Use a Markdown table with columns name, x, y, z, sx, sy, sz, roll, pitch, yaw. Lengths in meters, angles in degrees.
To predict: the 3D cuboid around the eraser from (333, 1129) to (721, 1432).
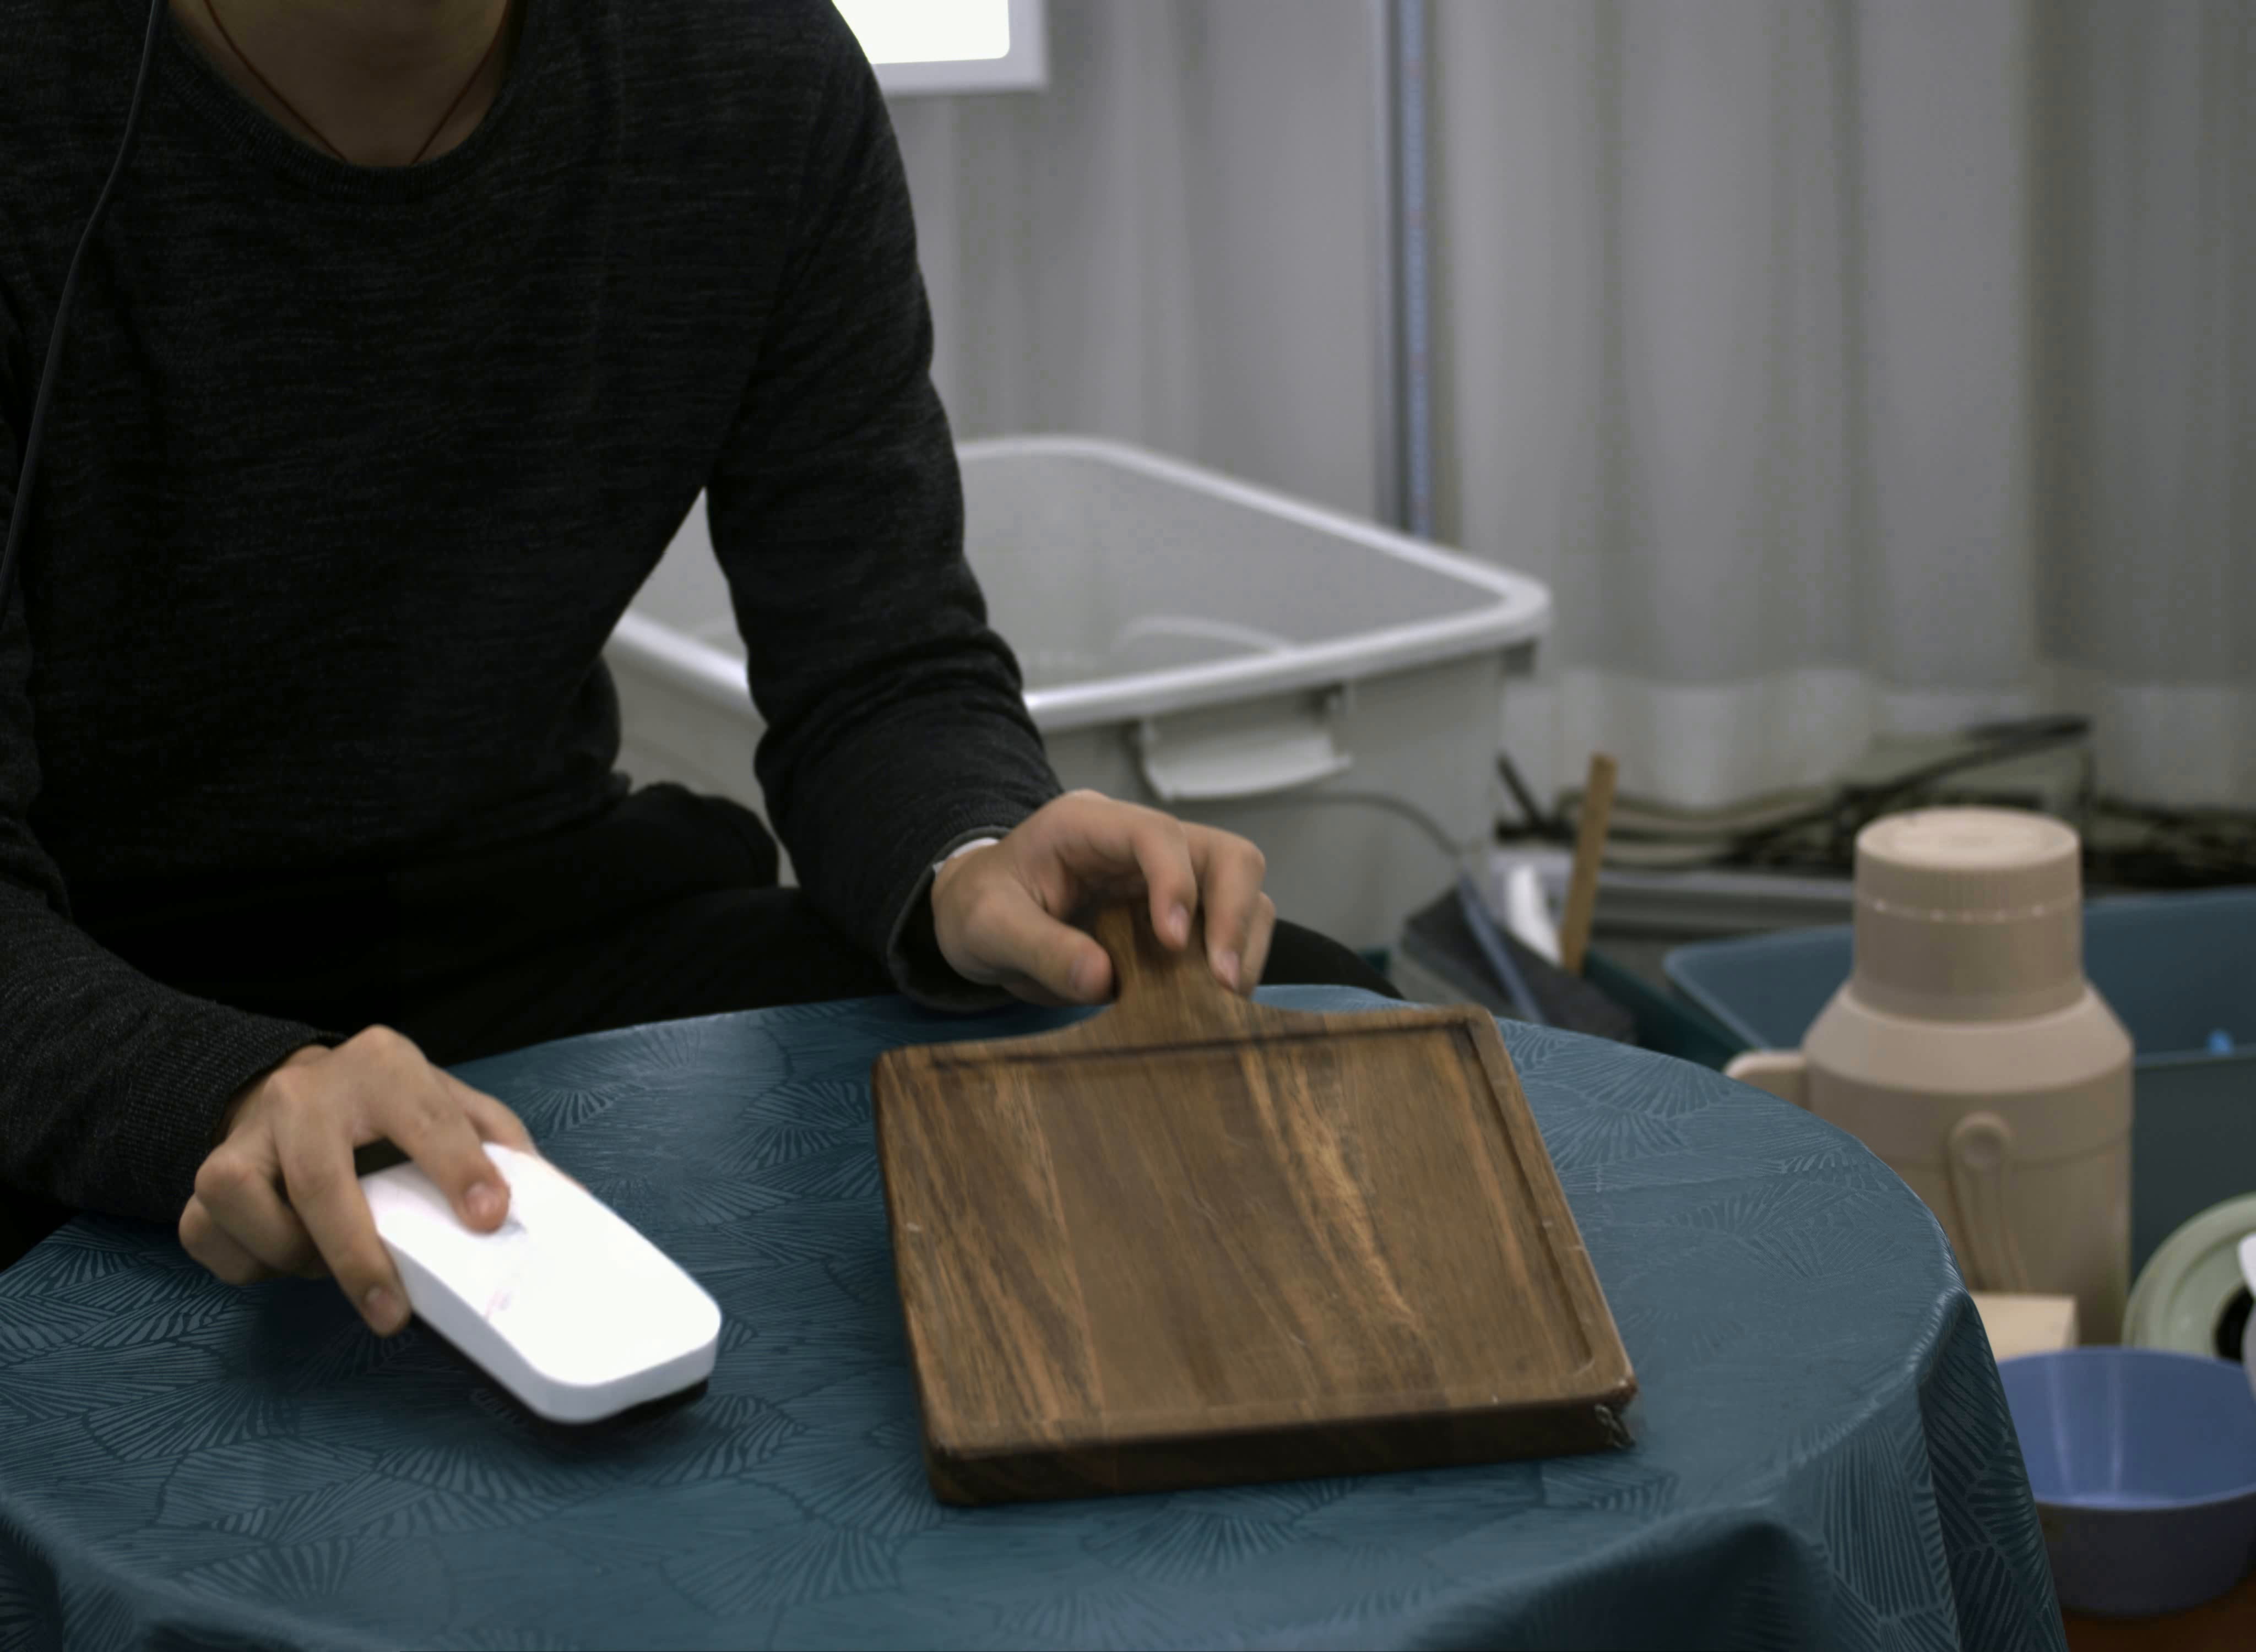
| name | x | y | z | sx | sy | sz | roll | pitch | yaw |
| --- | --- | --- | --- | --- | --- | --- | --- | --- | --- |
| eraser | -0.170 | 0.125 | 1.554 | 0.063 | 0.034 | 0.132 | -17 | 33 | -34 |

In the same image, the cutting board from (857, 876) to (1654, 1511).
| name | x | y | z | sx | sy | sz | roll | pitch | yaw |
| --- | --- | --- | --- | --- | --- | --- | --- | --- | --- |
| cutting board | 0.024 | 0.097 | 1.627 | 0.200 | 0.023 | 0.356 | -5 | 24 | -5 |
